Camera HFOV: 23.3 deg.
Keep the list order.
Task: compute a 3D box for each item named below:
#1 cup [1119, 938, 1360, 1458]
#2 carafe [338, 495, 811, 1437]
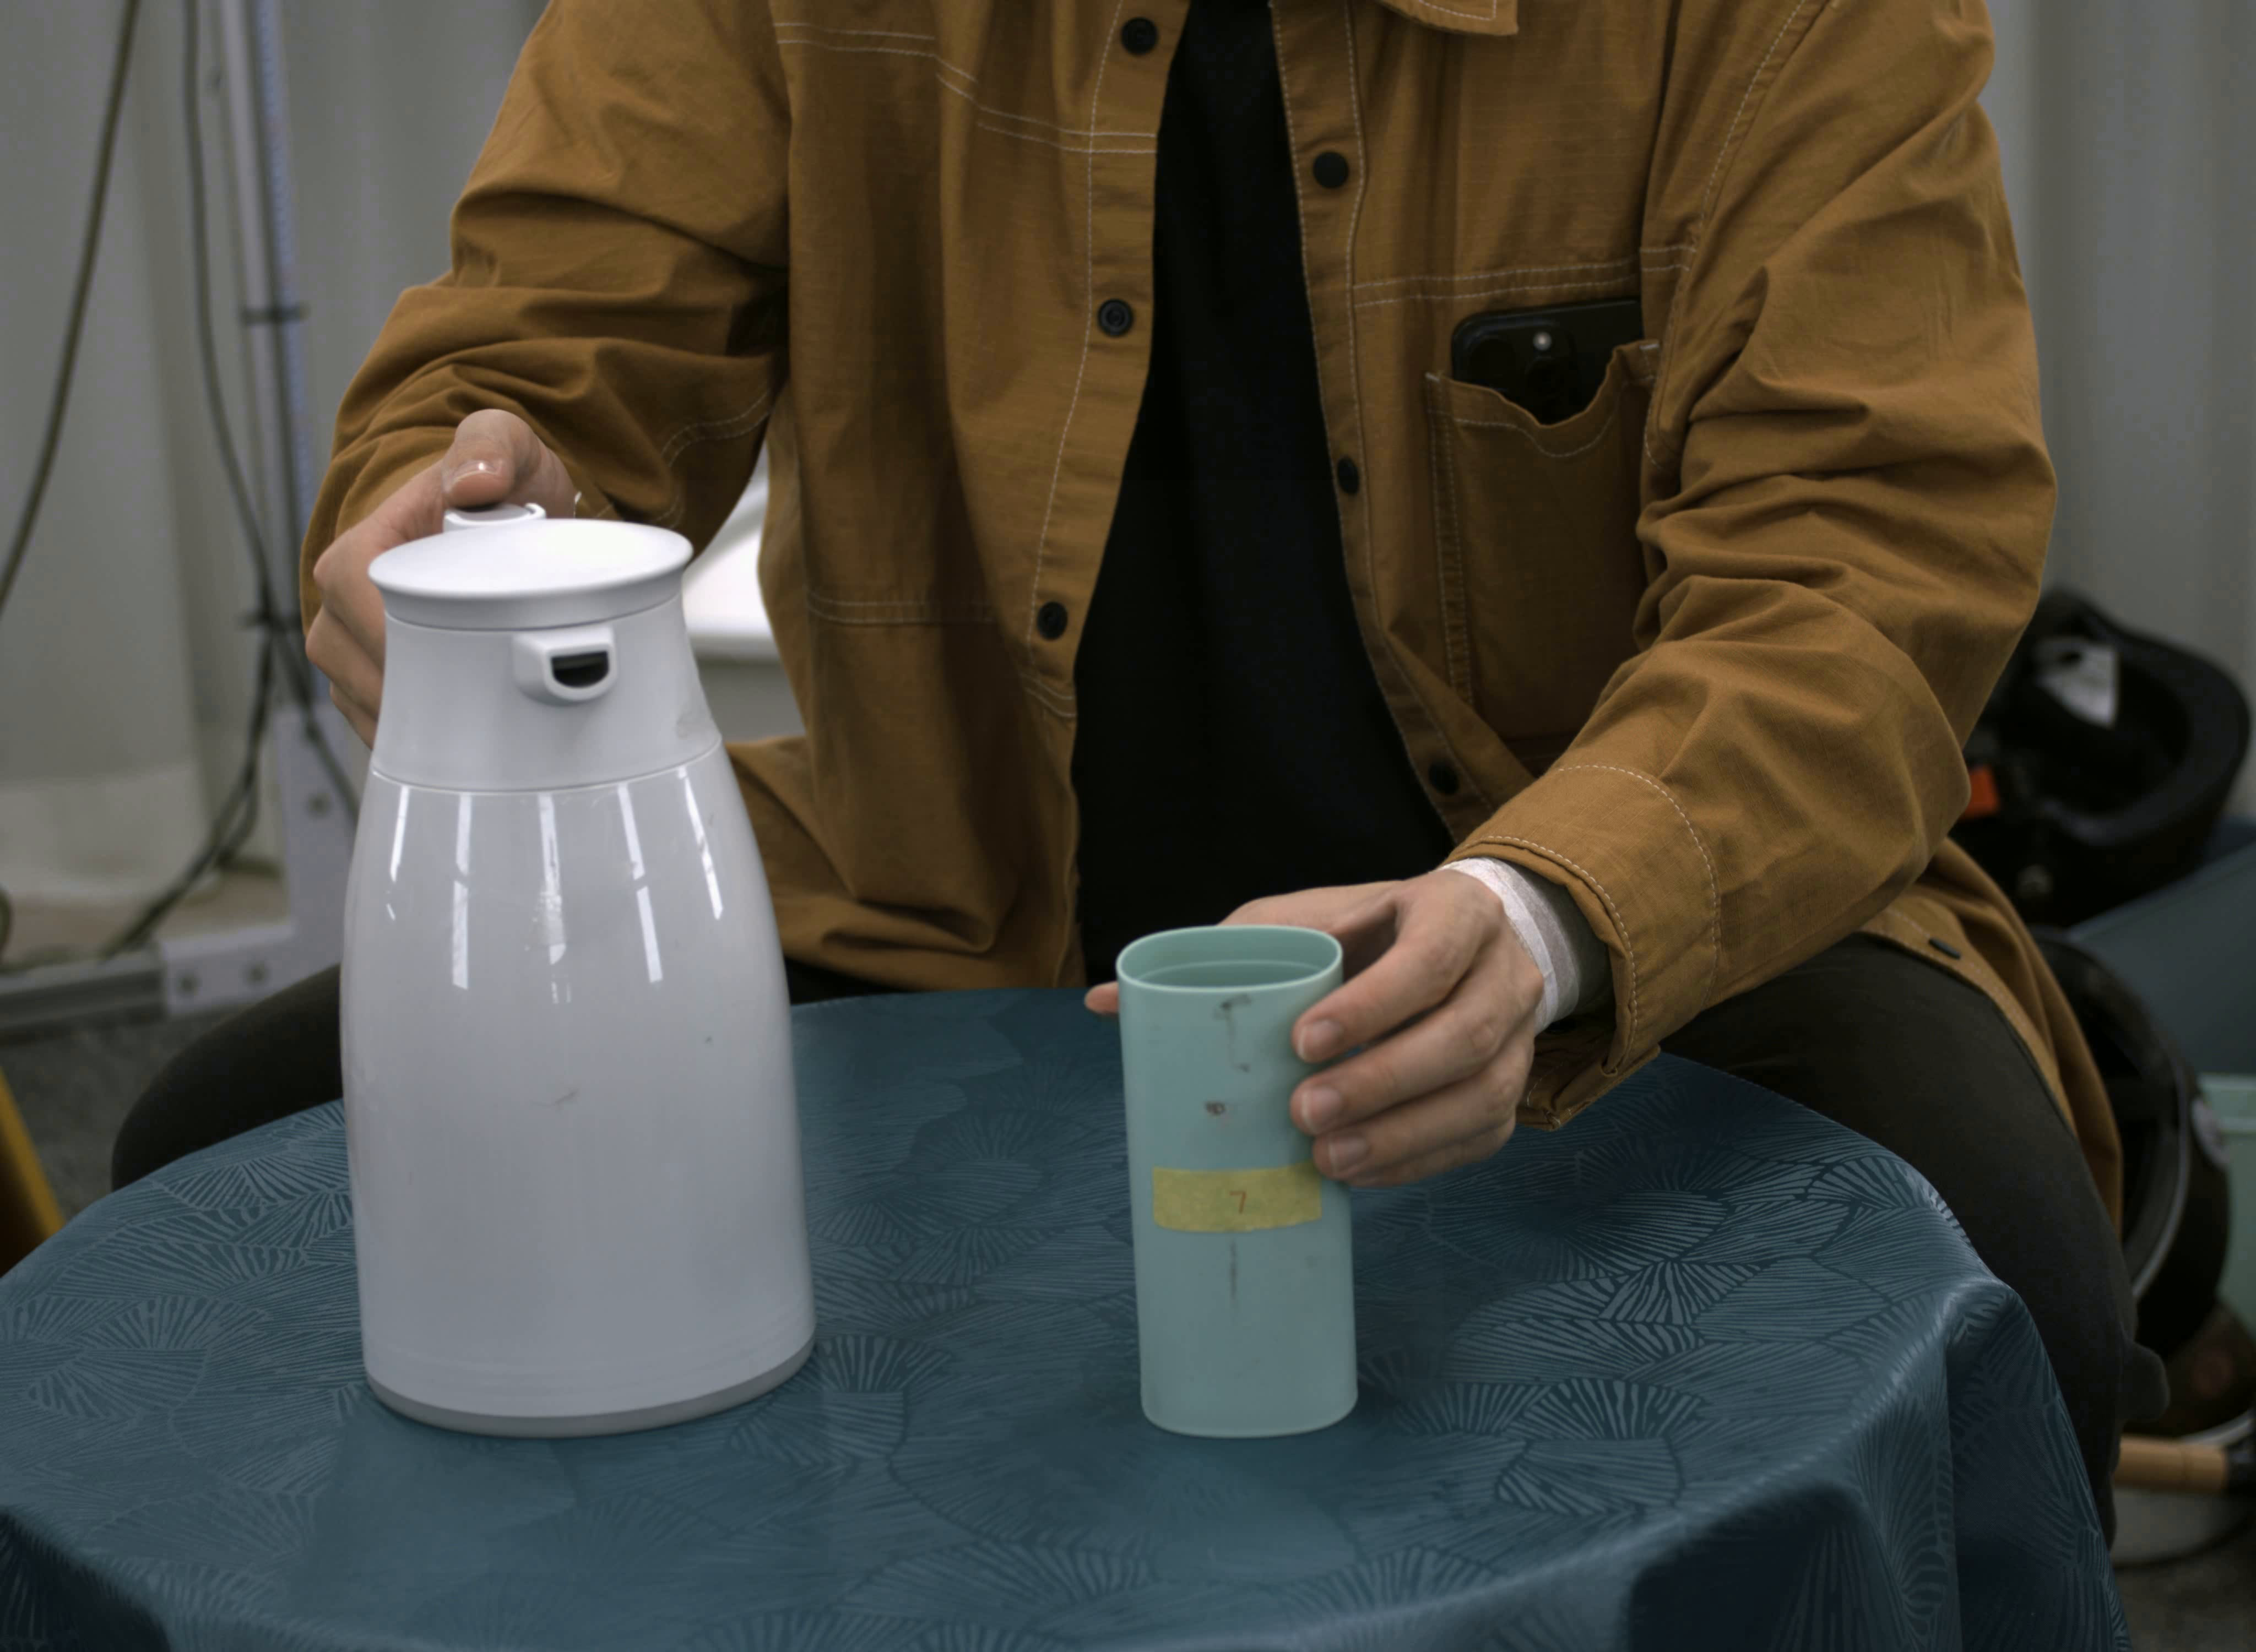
[{"bbox_3d":[0.032,0.102,1.517,0.066,0.132,0.067,-3,14,0],"label":"cup"},{"bbox_3d":[-0.170,0.032,1.582,0.132,0.248,0.169,-7,14,-17],"label":"carafe"}]
